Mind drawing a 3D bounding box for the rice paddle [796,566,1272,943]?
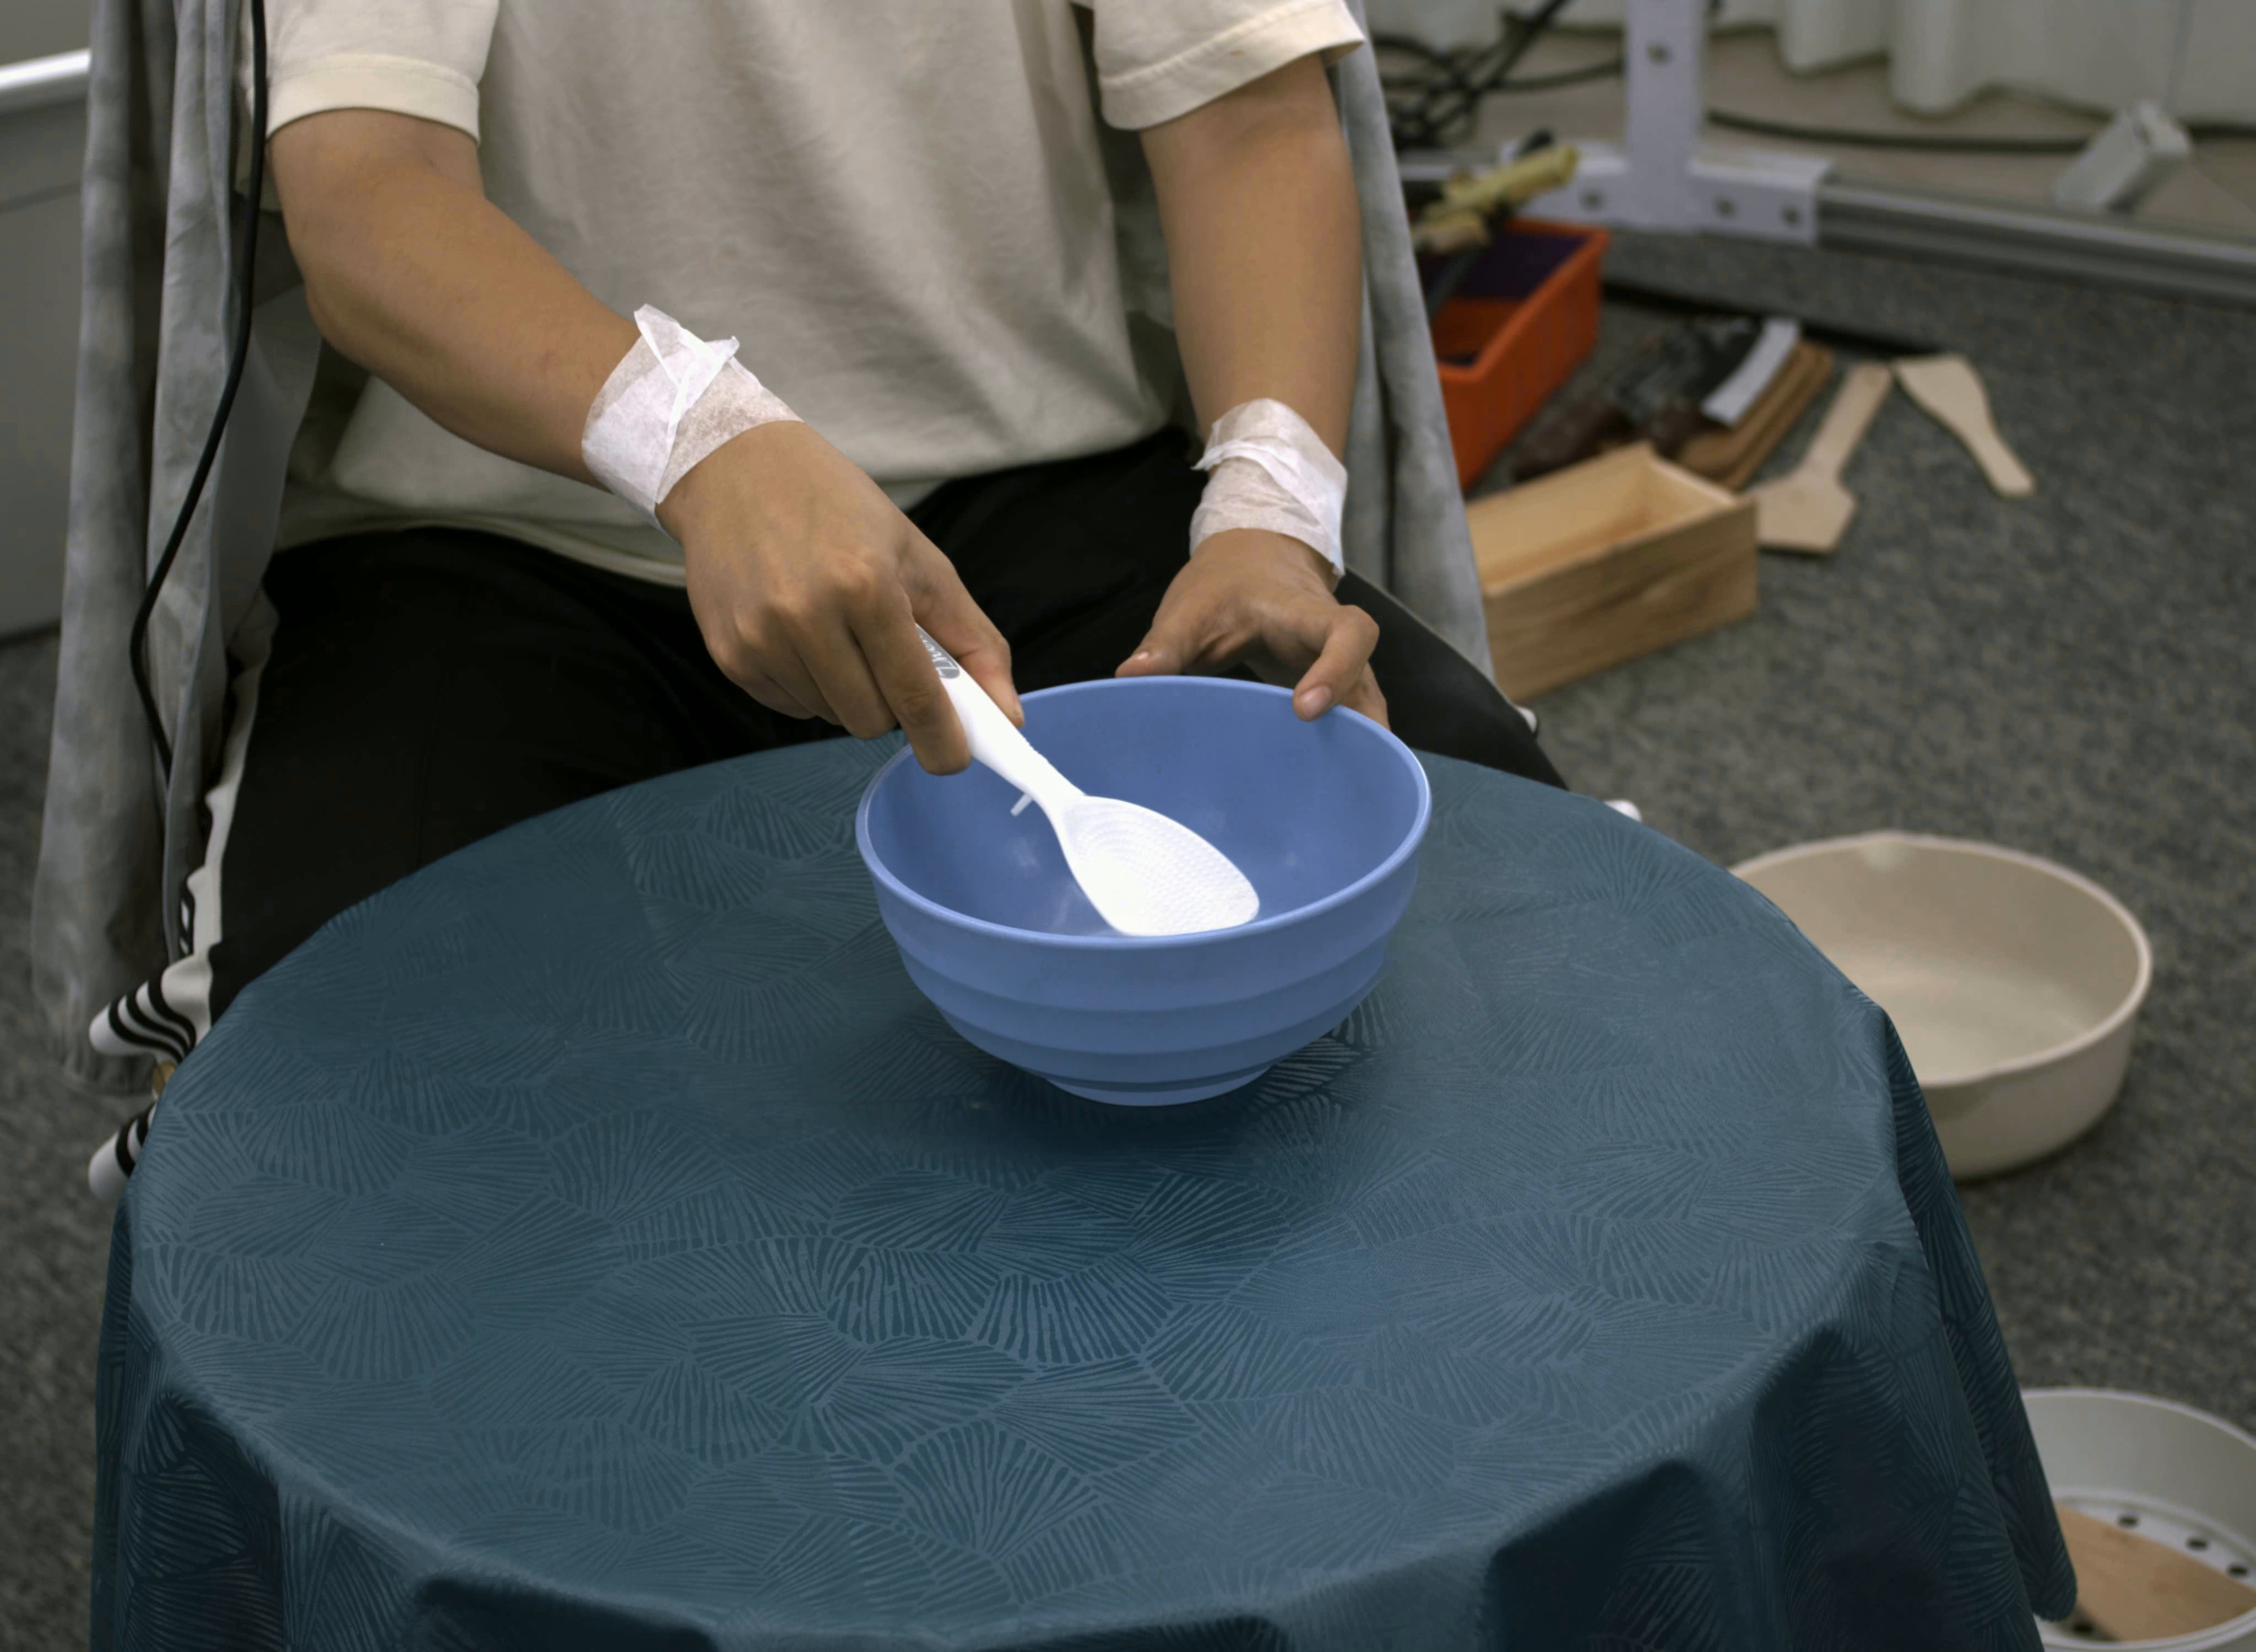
[{"bbox_3d":[-0.026,-0.012,1.921,0.205,0.029,0.070,41,41,-3],"label":"rice paddle"}]

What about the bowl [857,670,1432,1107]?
[{"bbox_3d":[0.008,0.033,1.929,0.195,0.094,0.199,-2,29,2],"label":"bowl"}]
